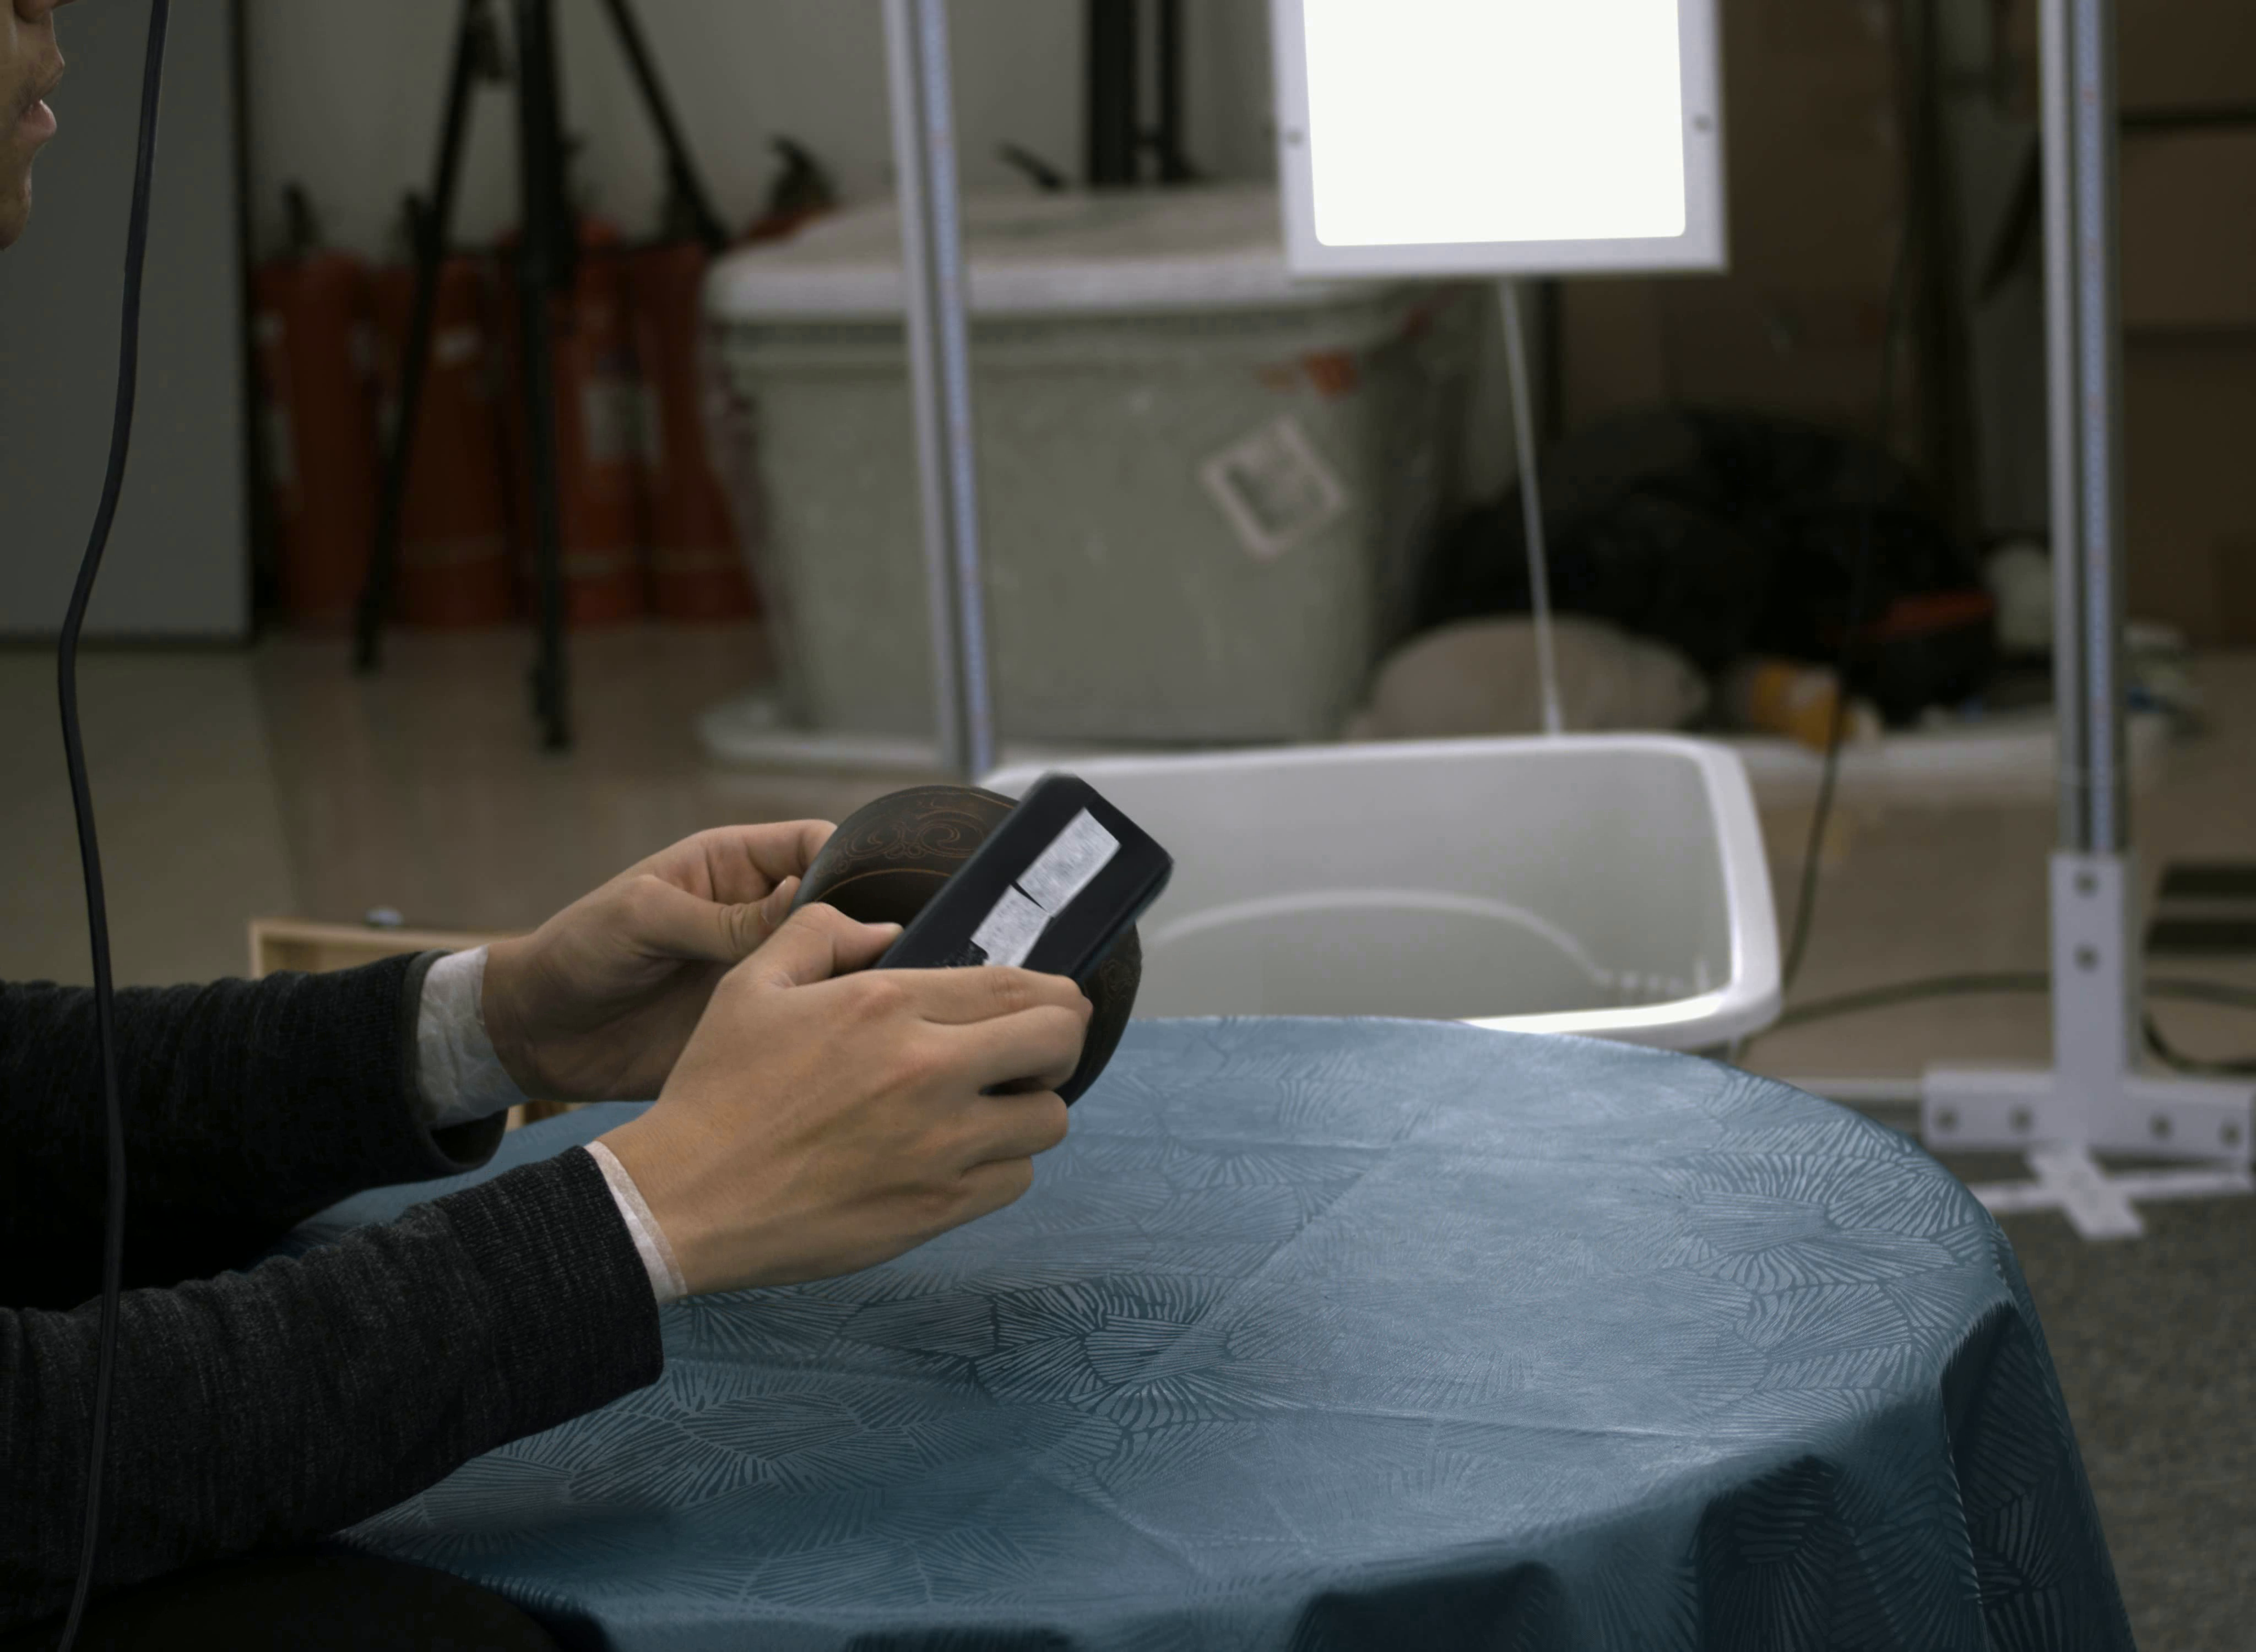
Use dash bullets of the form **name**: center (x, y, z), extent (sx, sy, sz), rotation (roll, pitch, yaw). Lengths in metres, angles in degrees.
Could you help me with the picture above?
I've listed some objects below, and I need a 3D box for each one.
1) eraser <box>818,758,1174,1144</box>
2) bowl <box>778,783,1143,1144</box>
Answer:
- **eraser**: center (-0.041, 0.037, 1.711), extent (0.054, 0.031, 0.123), rotation (35, 61, 7)
- **bowl**: center (-0.058, 0.053, 1.776), extent (0.119, 0.118, 0.069), rotation (0, 33, 18)
